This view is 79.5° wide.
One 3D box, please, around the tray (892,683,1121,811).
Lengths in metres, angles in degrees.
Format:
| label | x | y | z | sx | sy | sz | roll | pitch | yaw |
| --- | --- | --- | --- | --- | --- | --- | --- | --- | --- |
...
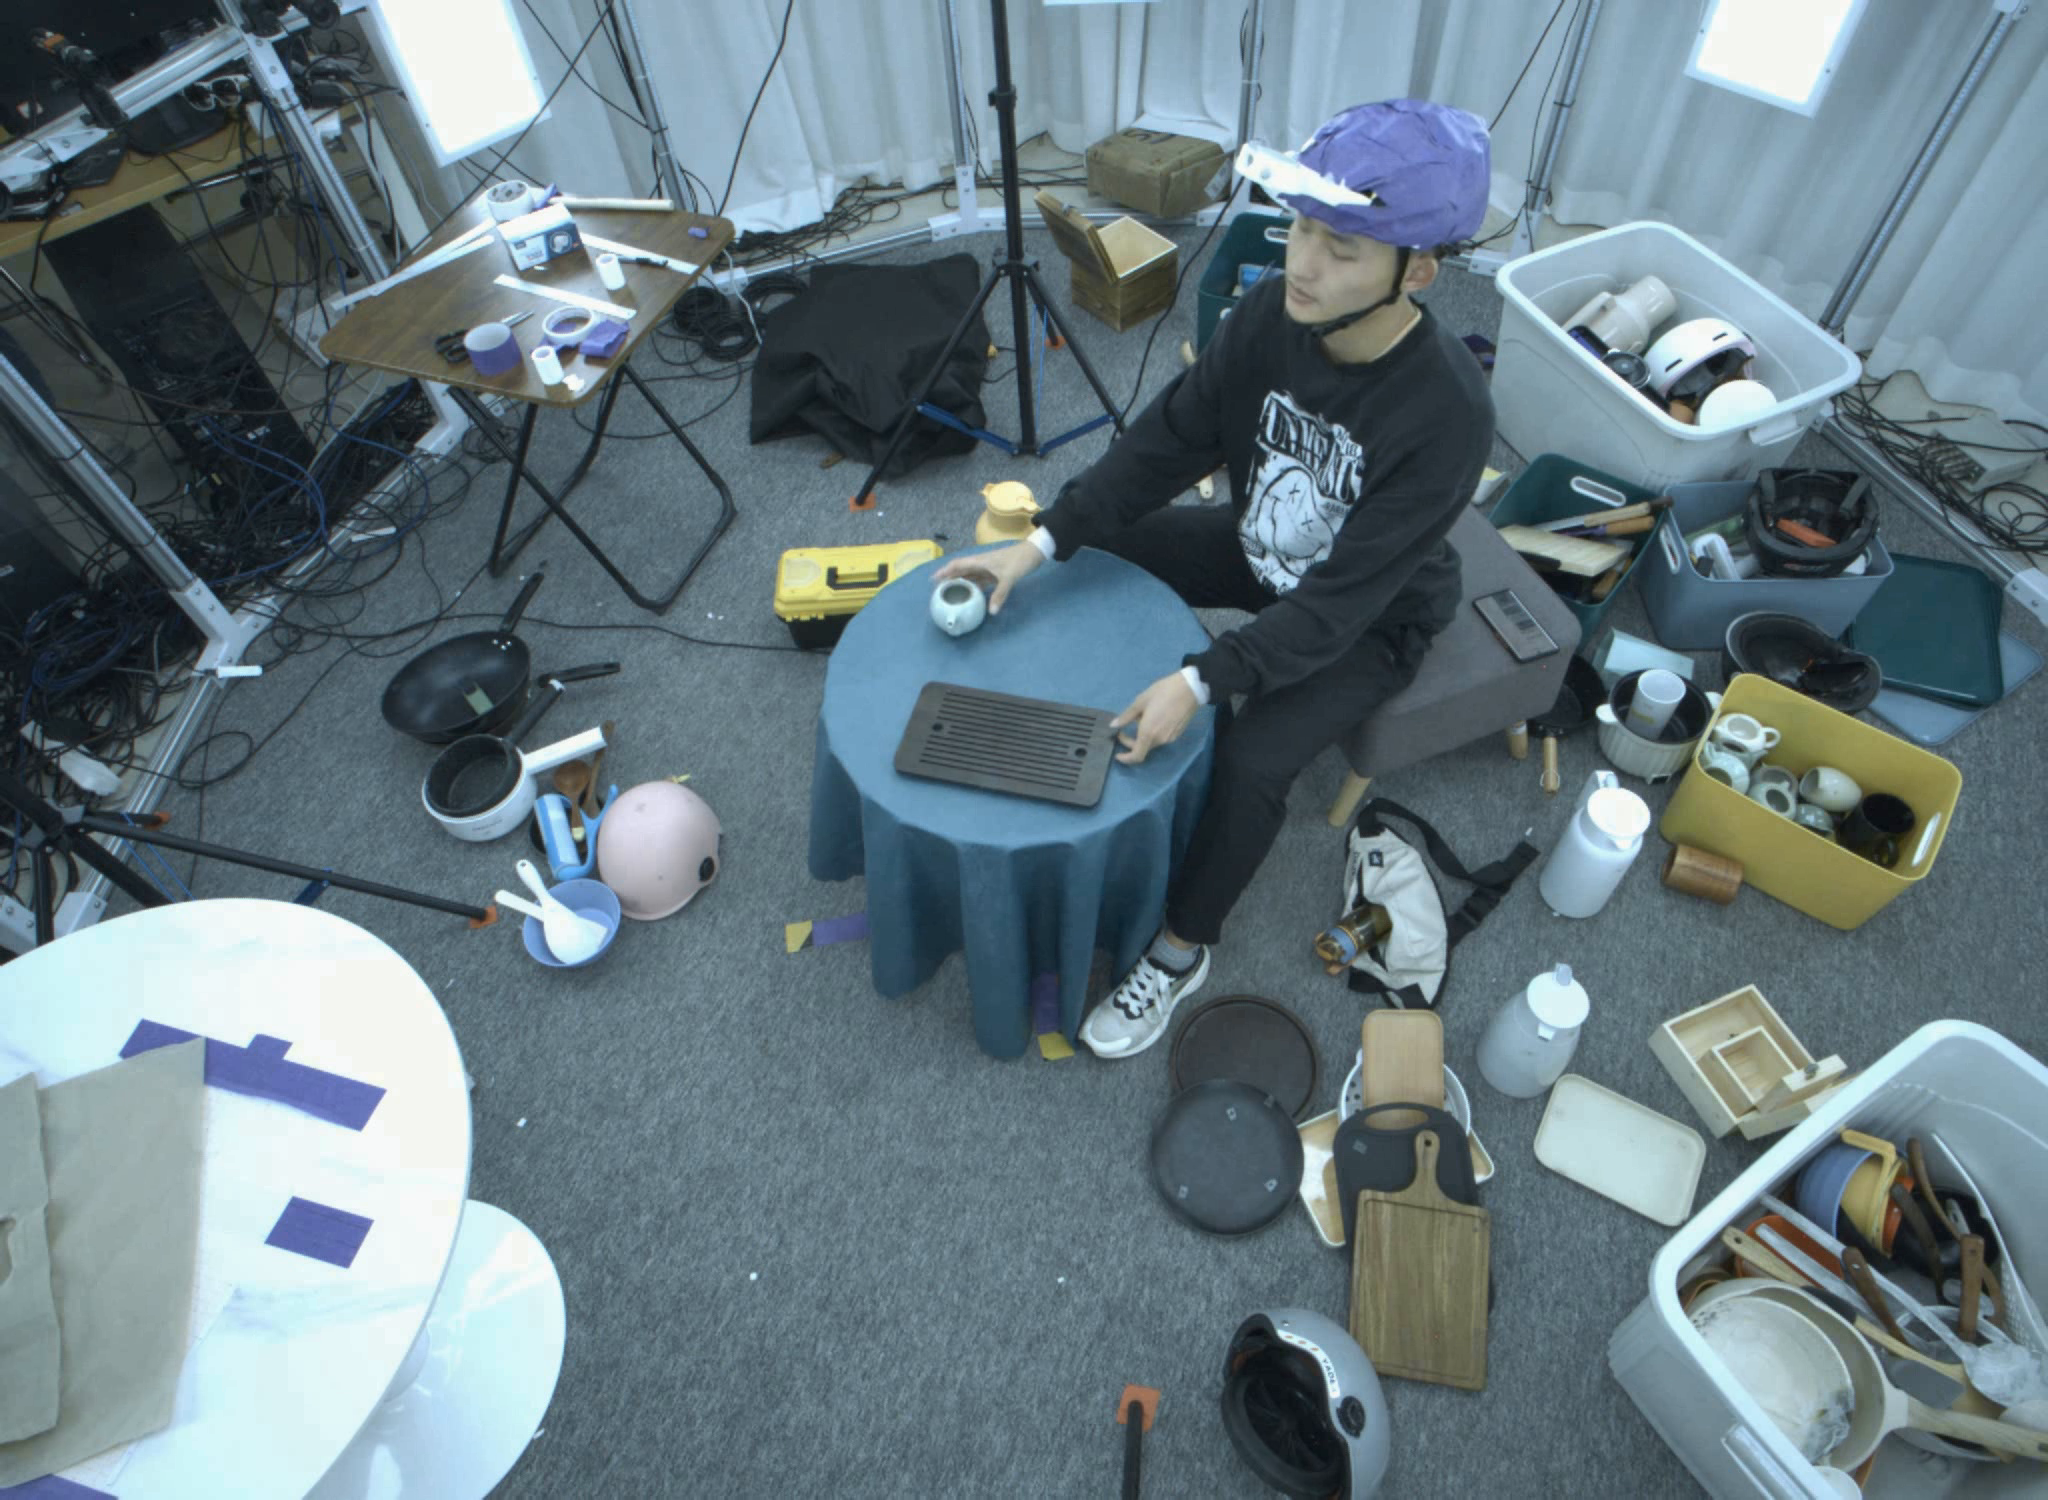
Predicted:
| label | x | y | z | sx | sy | sz | roll | pitch | yaw |
| --- | --- | --- | --- | --- | --- | --- | --- | --- | --- |
| tray | -0.024 | -0.006 | 1.777 | 0.304 | 0.019 | 0.169 | 11 | 56 | 9 |

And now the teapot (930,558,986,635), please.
| label | x | y | z | sx | sy | sz | roll | pitch | yaw |
| --- | --- | --- | --- | --- | --- | --- | --- | --- | --- |
| teapot | -0.103 | -0.225 | 1.902 | 0.088 | 0.075 | 0.143 | 4 | 56 | 6 |
